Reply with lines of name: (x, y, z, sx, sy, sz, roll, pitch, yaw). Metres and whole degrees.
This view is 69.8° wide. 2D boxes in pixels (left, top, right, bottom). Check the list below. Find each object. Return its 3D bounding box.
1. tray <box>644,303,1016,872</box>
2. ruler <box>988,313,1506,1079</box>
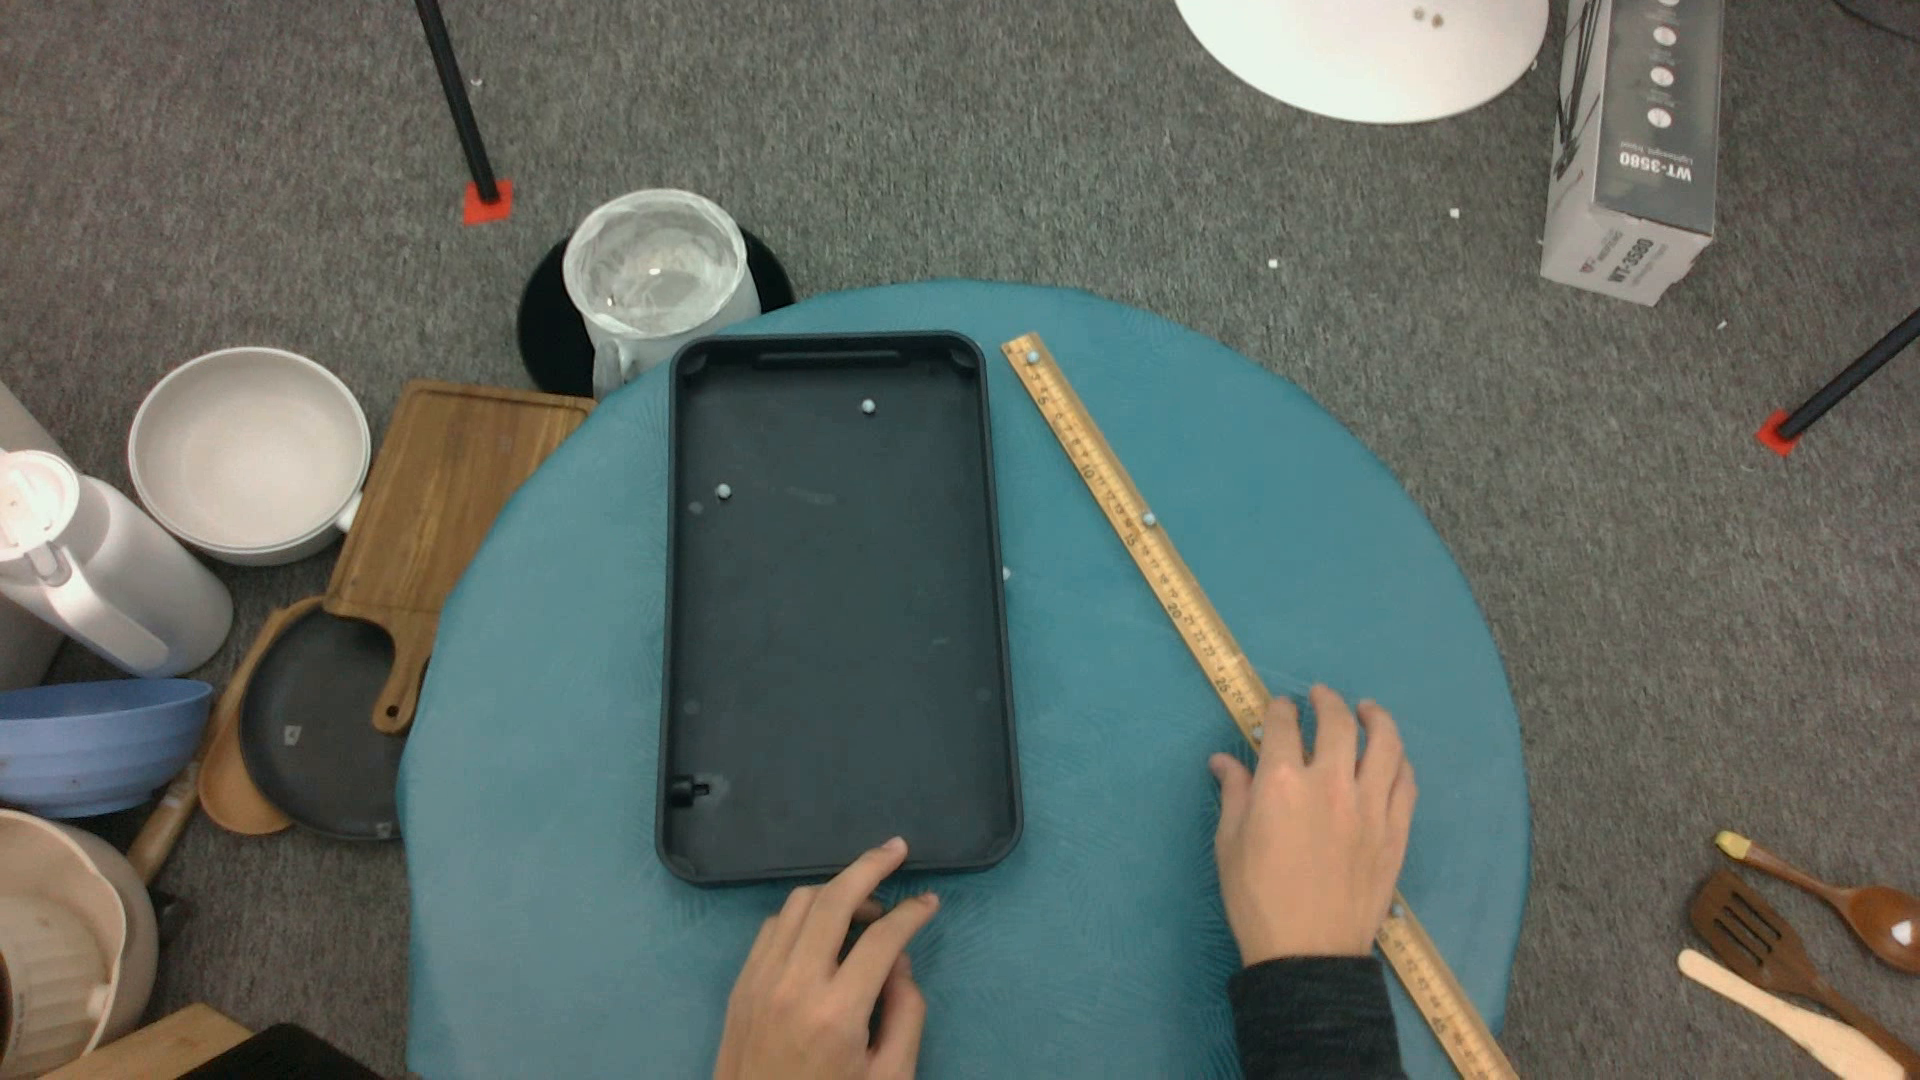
tray: (-0.077, 0.016, 0.756, 0.184, 0.037, 0.319, -4, 67, -6)
ruler: (0.143, 0.070, 0.765, 0.027, 0.006, 0.501, -25, 70, -12)
